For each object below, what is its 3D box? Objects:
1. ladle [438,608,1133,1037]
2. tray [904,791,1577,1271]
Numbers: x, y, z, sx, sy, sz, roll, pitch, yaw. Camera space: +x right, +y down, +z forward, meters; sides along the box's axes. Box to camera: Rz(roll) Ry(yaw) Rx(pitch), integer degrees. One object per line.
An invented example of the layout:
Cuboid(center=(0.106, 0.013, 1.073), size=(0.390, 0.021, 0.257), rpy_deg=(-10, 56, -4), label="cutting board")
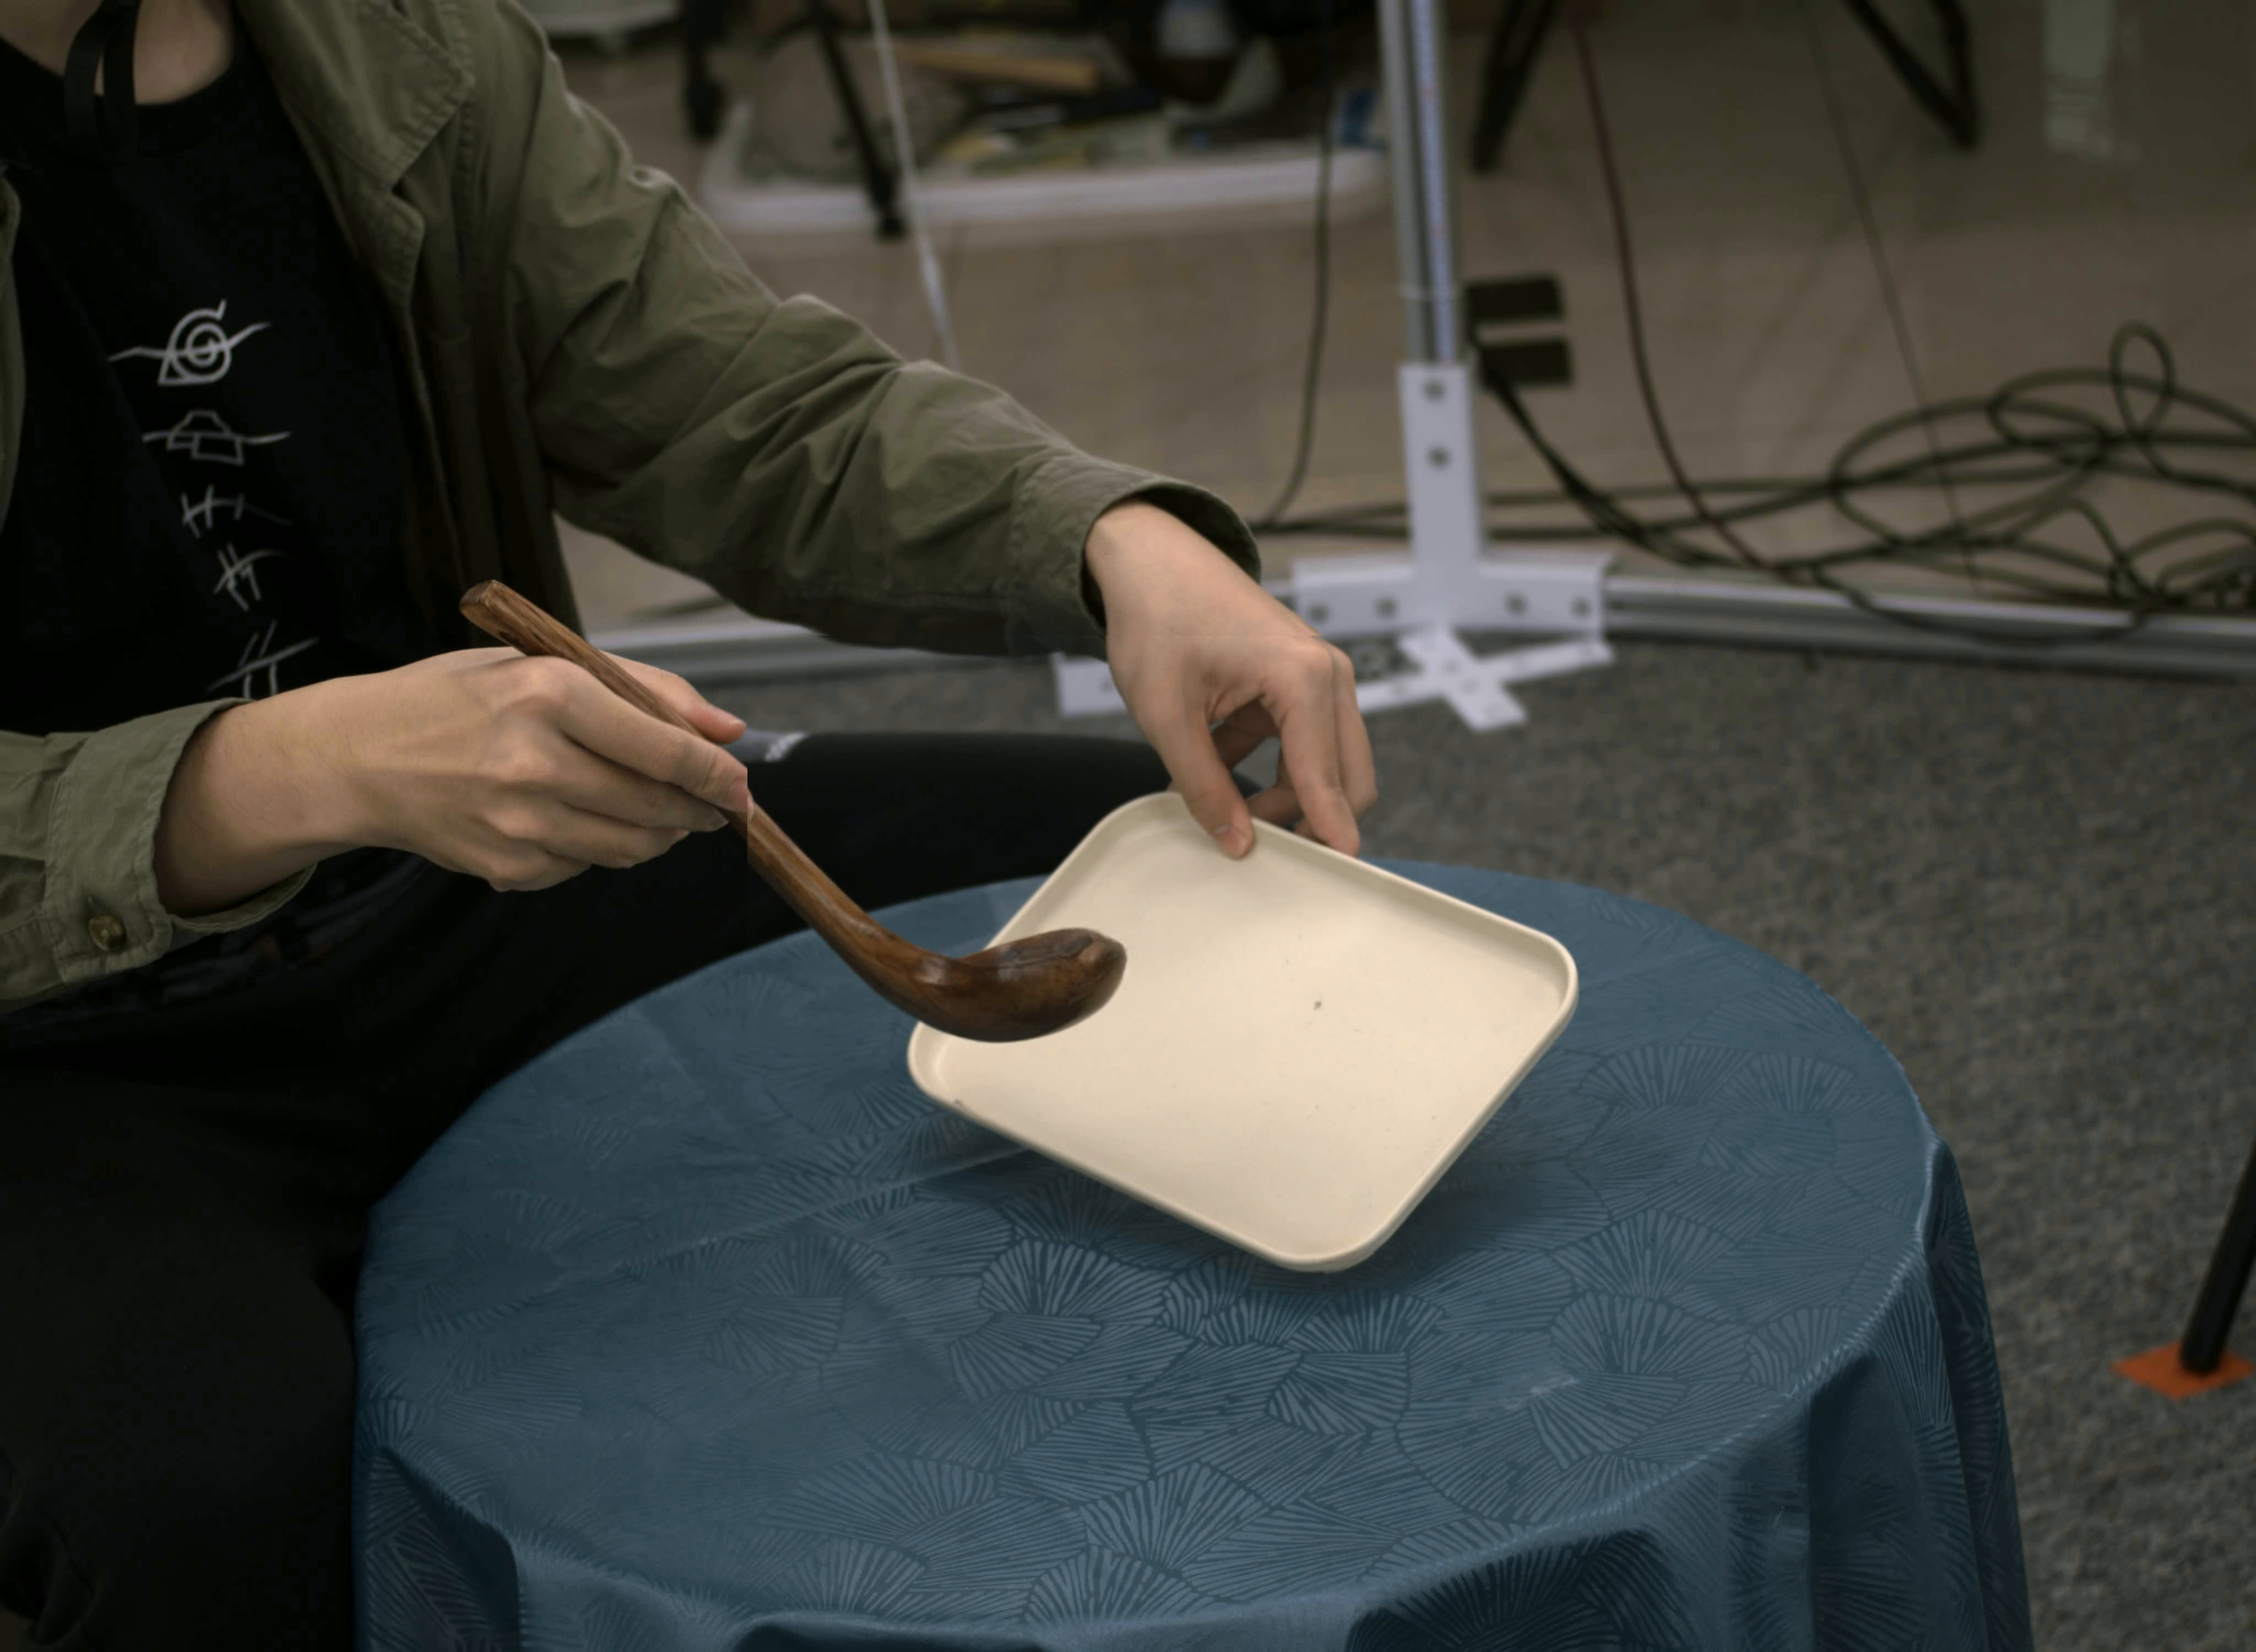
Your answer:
Cuboid(center=(-0.113, -0.014, 1.968), size=(0.082, 0.276, 0.076), rpy_deg=(-11, 43, 58), label="ladle")
Cuboid(center=(0.042, 0.077, 2.147), size=(0.237, 0.018, 0.169), rpy_deg=(23, 61, 38), label="tray")
